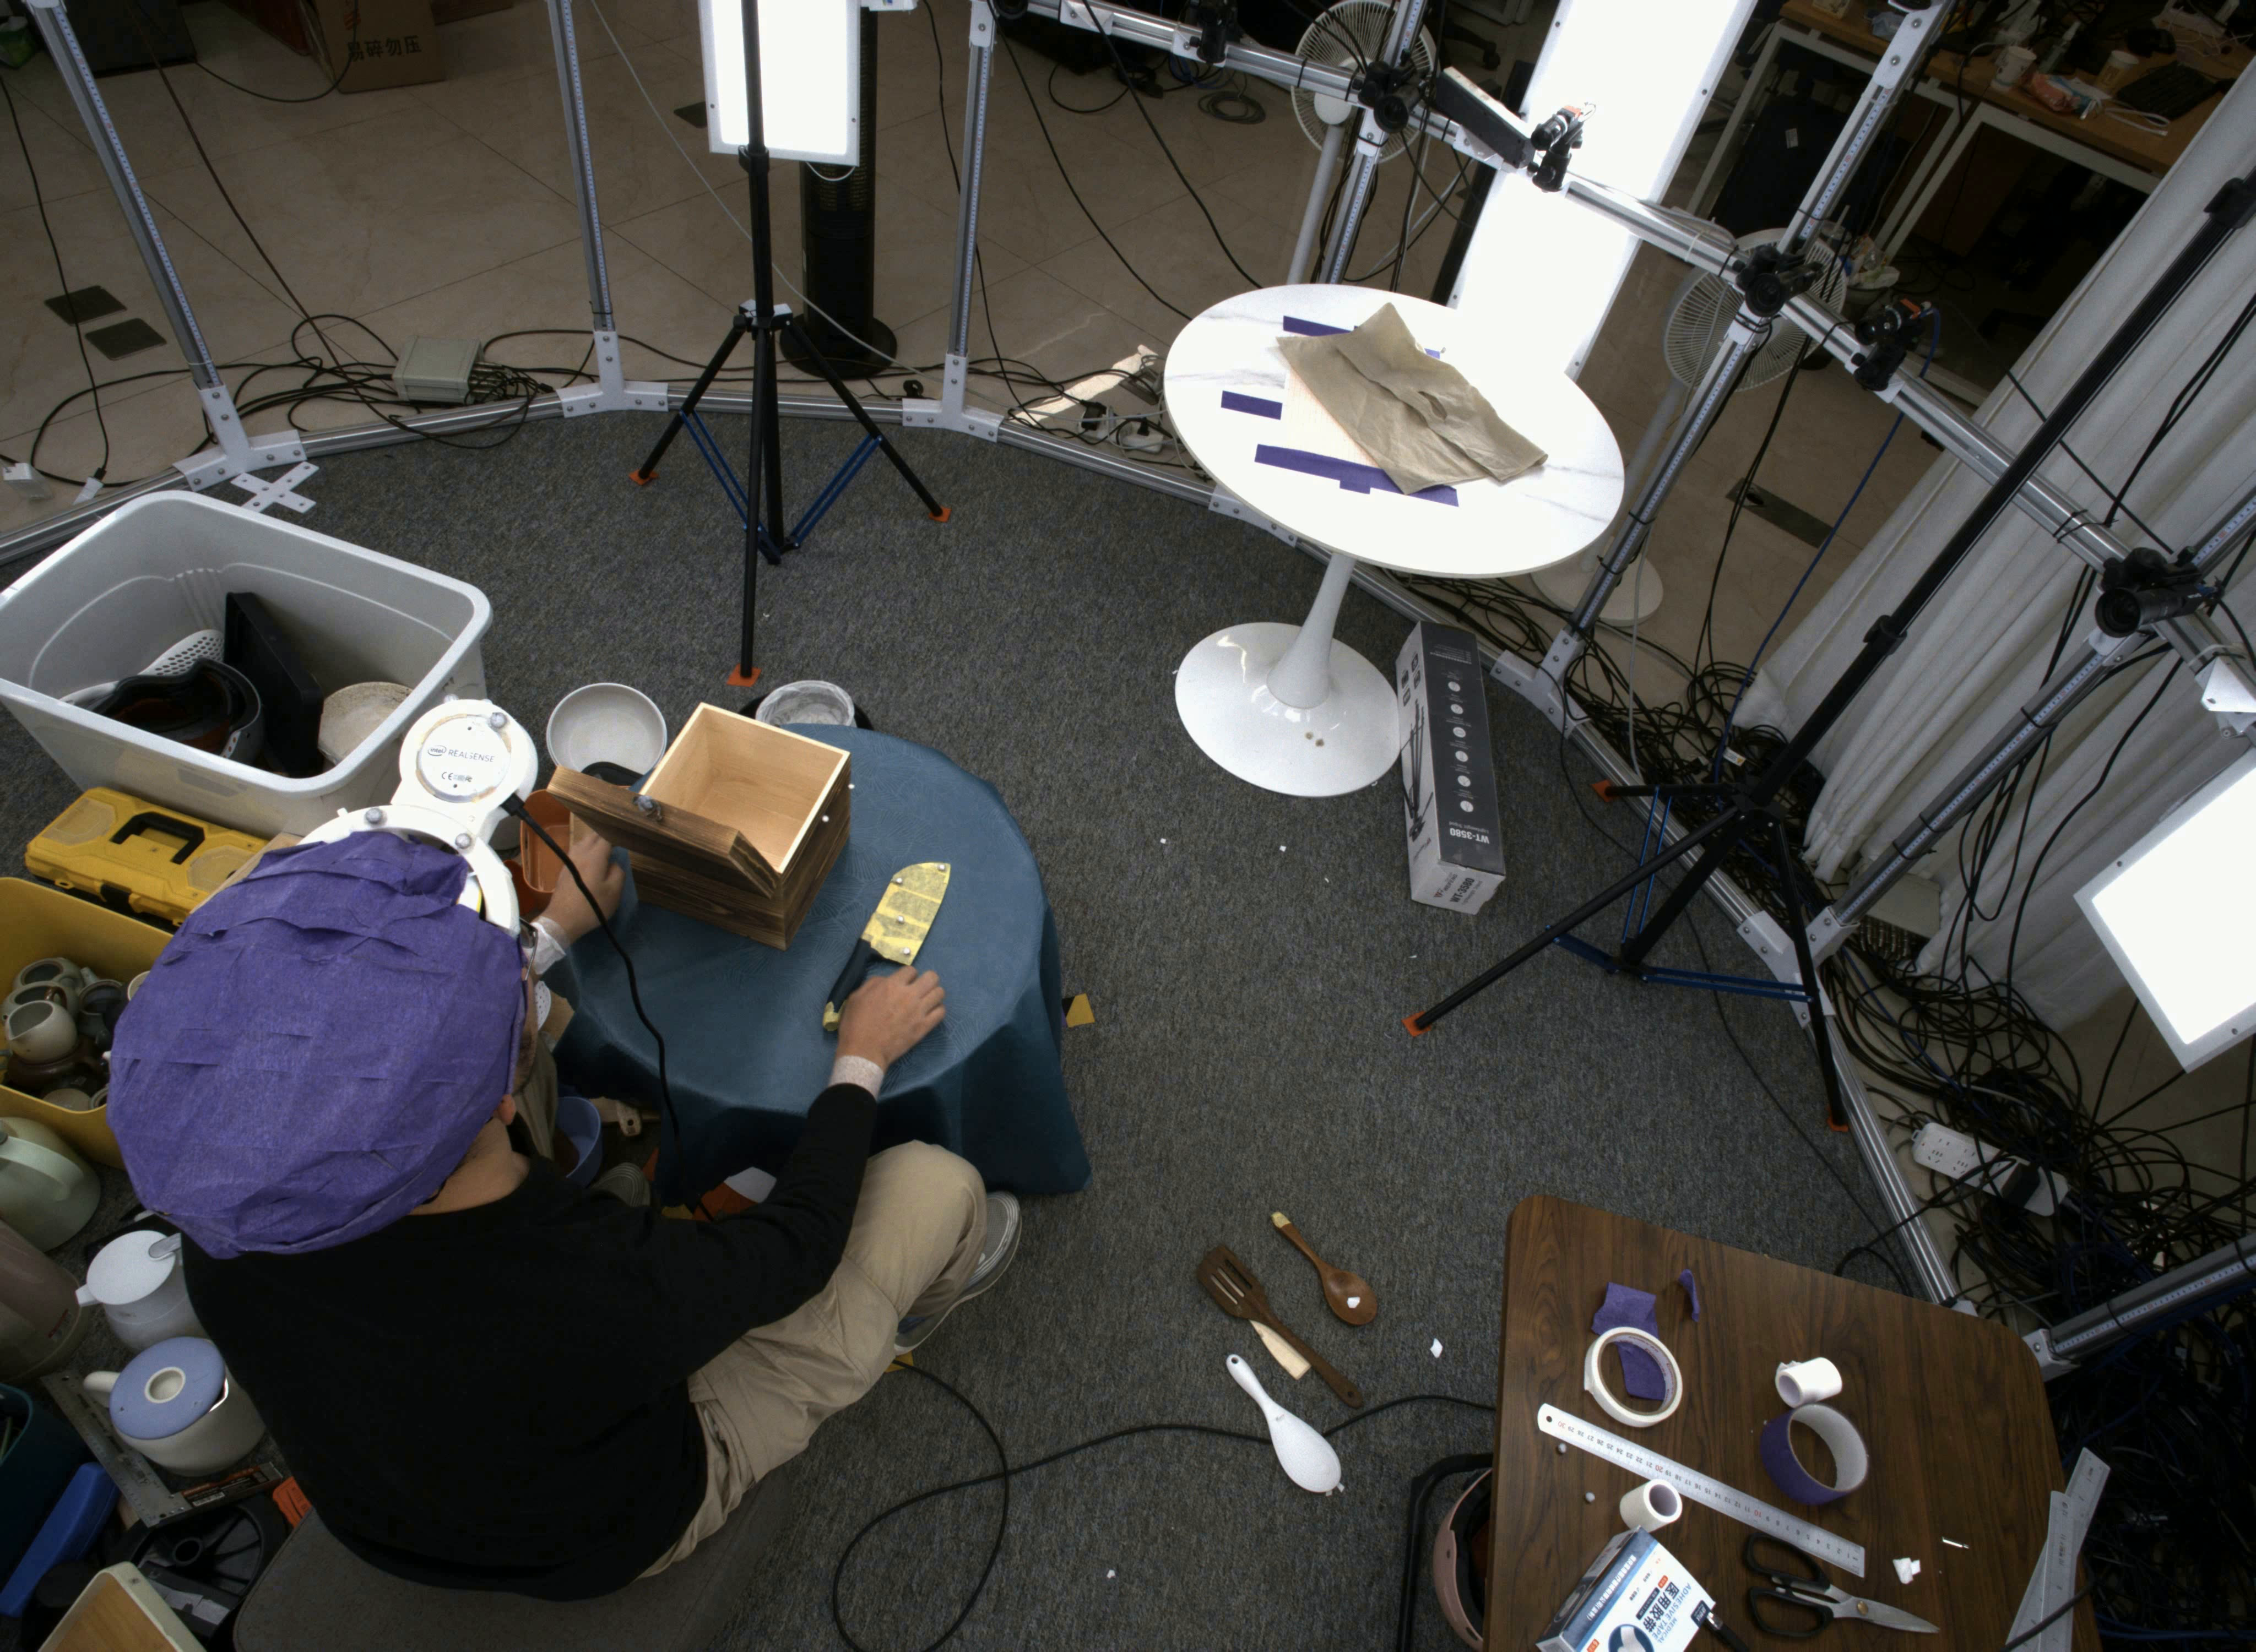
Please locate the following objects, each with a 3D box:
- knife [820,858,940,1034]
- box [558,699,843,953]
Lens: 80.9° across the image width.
[{"bbox_3d":[-0.309,0.143,1.633,0.080,0.028,0.287,21,51,4],"label":"knife"},{"bbox_3d":[-0.480,-0.022,1.488,0.207,0.383,0.318,18,52,1],"label":"box"}]
